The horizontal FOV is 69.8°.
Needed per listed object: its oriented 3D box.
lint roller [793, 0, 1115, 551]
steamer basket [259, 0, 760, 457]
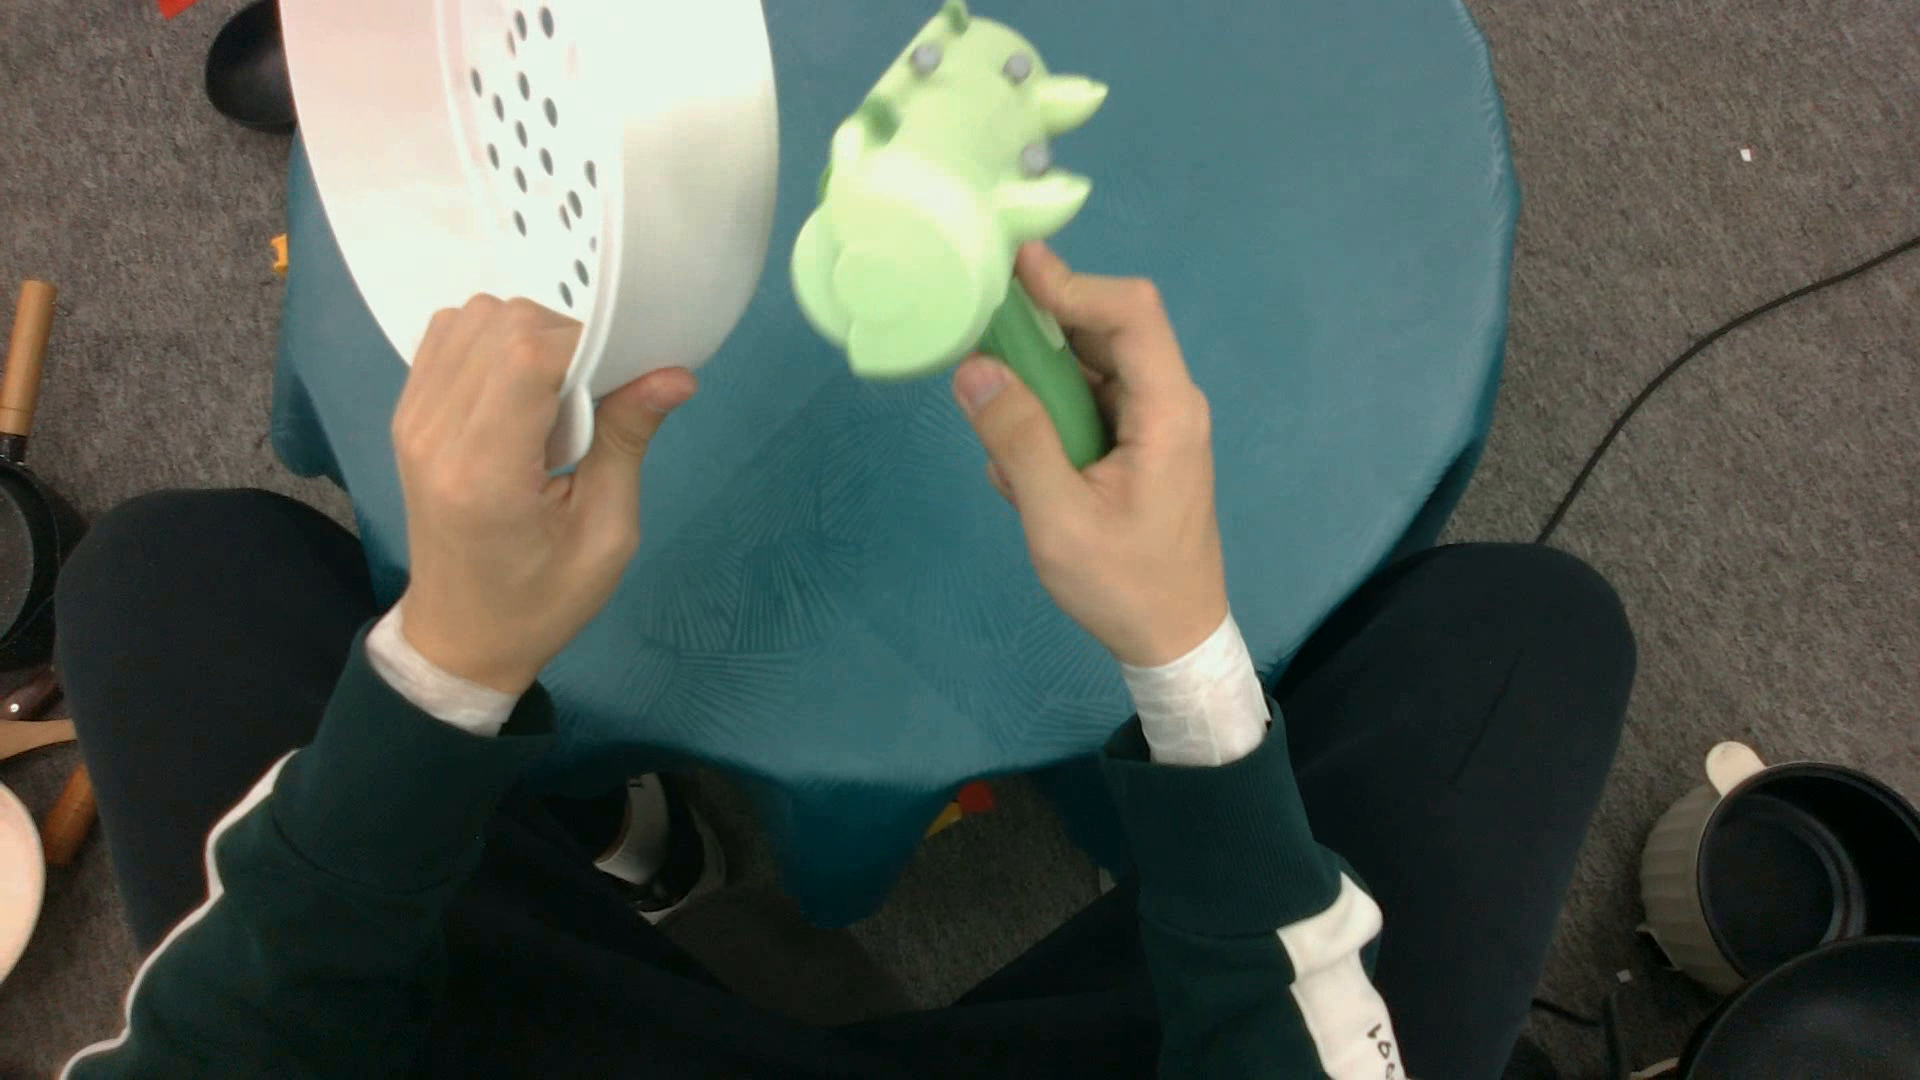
[{"bbox_3d":[0.026,-0.081,0.439,0.082,0.199,0.183,-26,114,19],"label":"lint roller"},{"bbox_3d":[-0.145,-0.145,0.434,0.069,0.201,0.230,-21,99,-42],"label":"steamer basket"}]
